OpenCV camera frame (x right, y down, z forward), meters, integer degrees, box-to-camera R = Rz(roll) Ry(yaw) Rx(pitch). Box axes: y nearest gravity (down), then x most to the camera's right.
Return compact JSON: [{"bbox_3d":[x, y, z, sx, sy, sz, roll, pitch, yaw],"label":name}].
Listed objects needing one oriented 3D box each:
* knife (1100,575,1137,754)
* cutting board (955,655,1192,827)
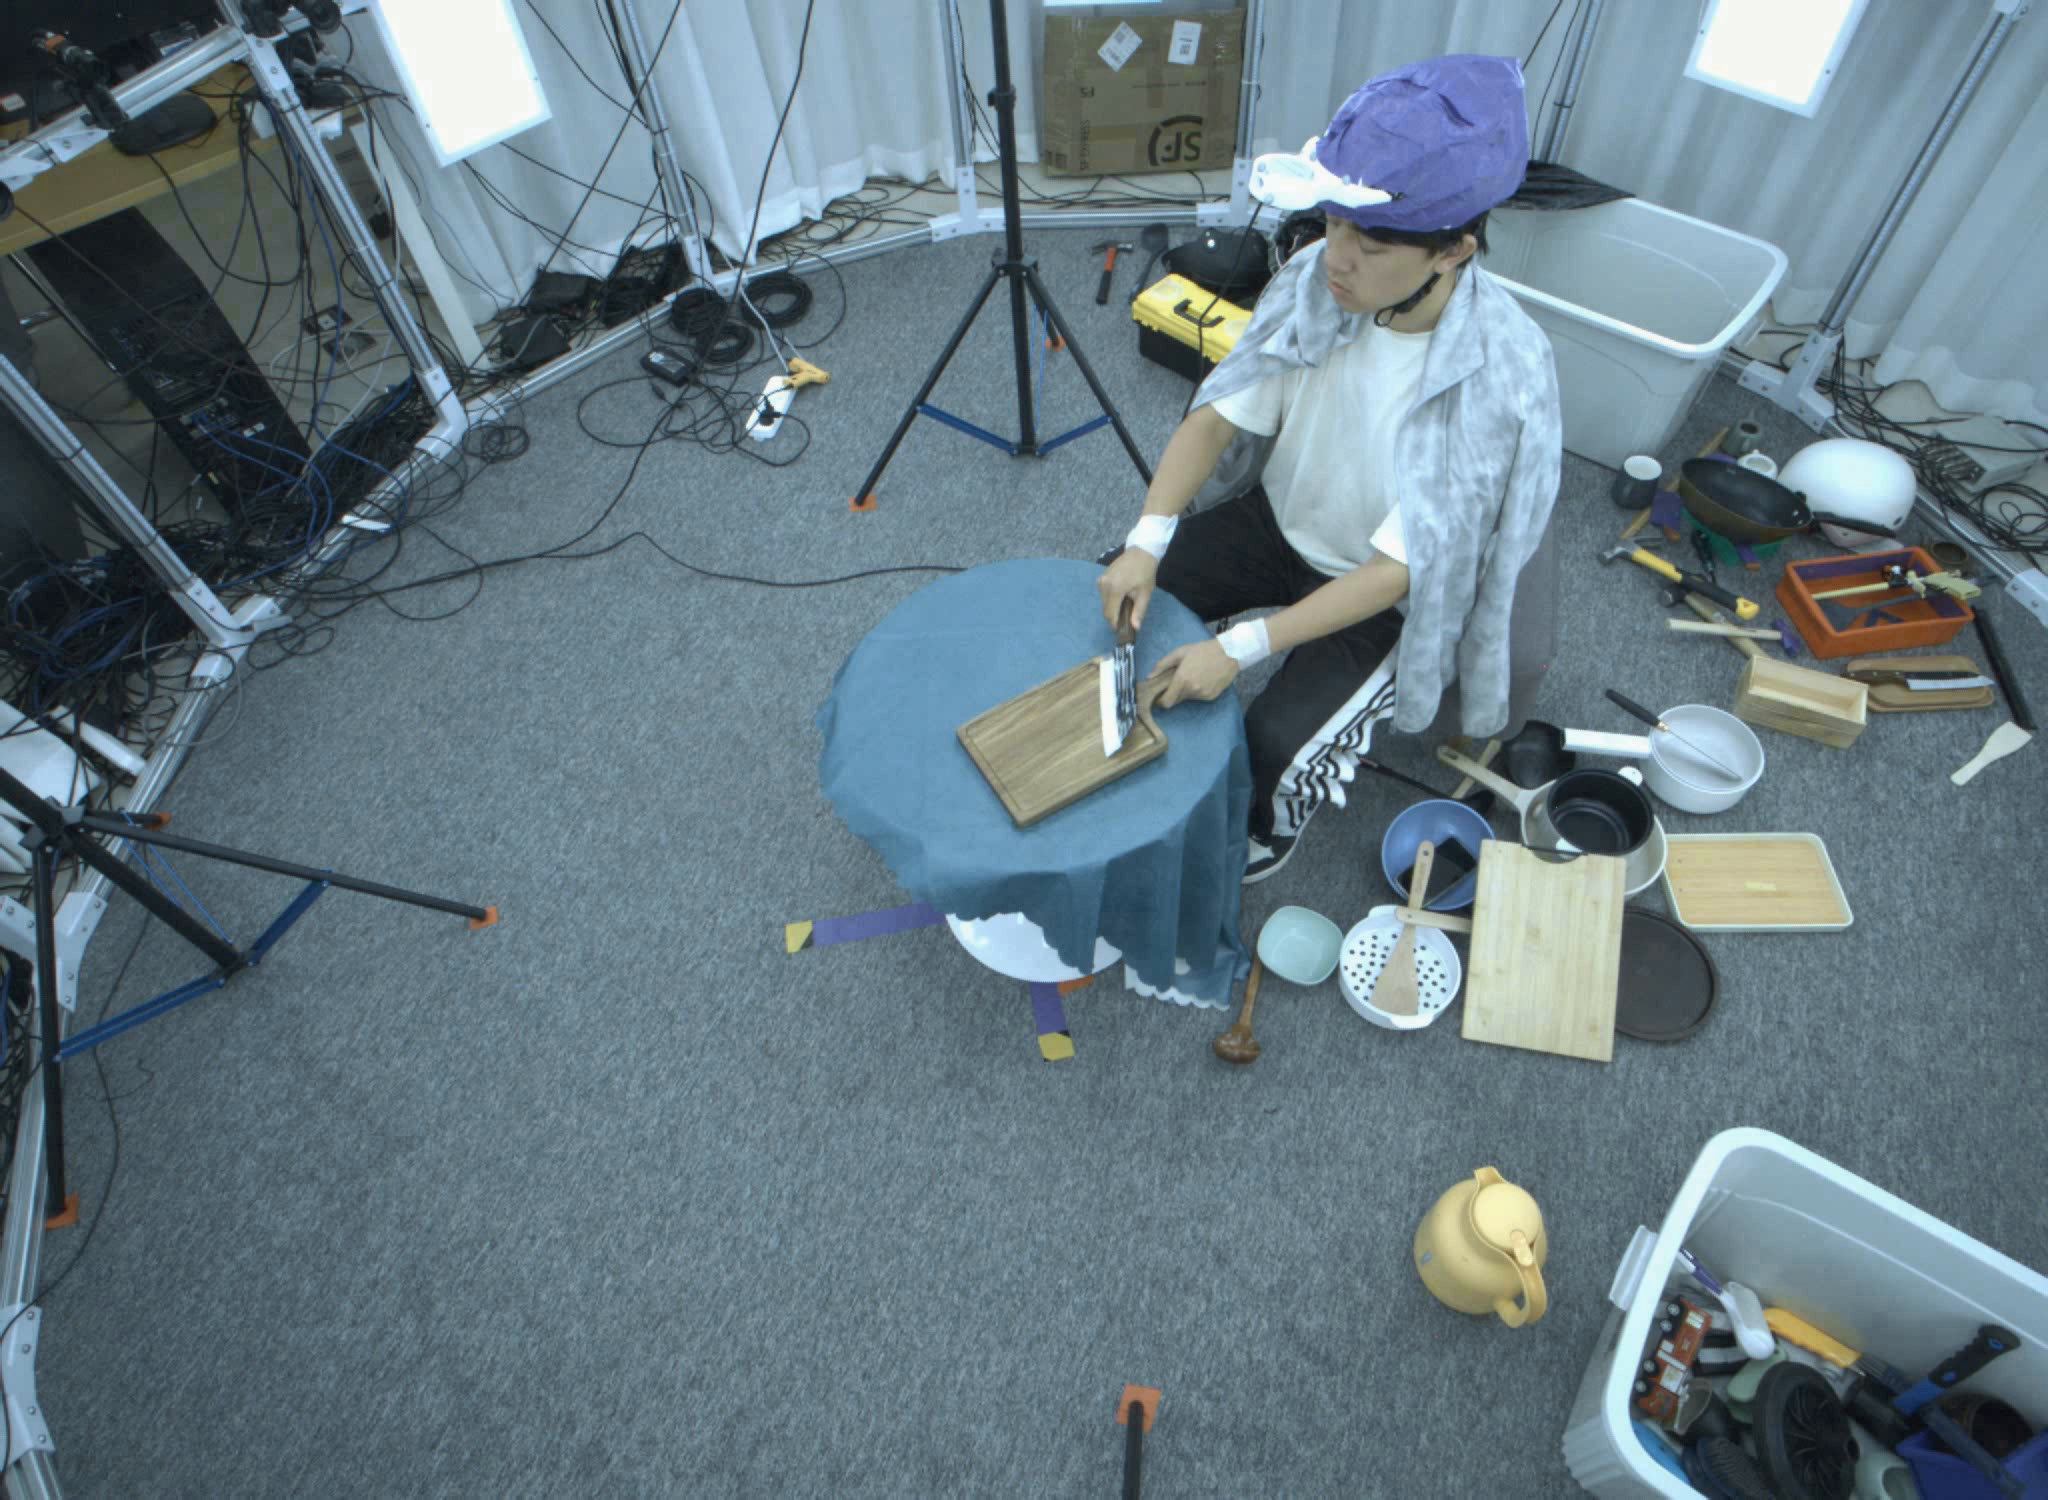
[{"bbox_3d":[0.137,-0.129,1.811,0.067,0.024,0.297,-25,51,37],"label":"knife"},{"bbox_3d":[0.096,-0.040,1.792,0.354,0.023,0.197,-28,58,-14],"label":"cutting board"}]
